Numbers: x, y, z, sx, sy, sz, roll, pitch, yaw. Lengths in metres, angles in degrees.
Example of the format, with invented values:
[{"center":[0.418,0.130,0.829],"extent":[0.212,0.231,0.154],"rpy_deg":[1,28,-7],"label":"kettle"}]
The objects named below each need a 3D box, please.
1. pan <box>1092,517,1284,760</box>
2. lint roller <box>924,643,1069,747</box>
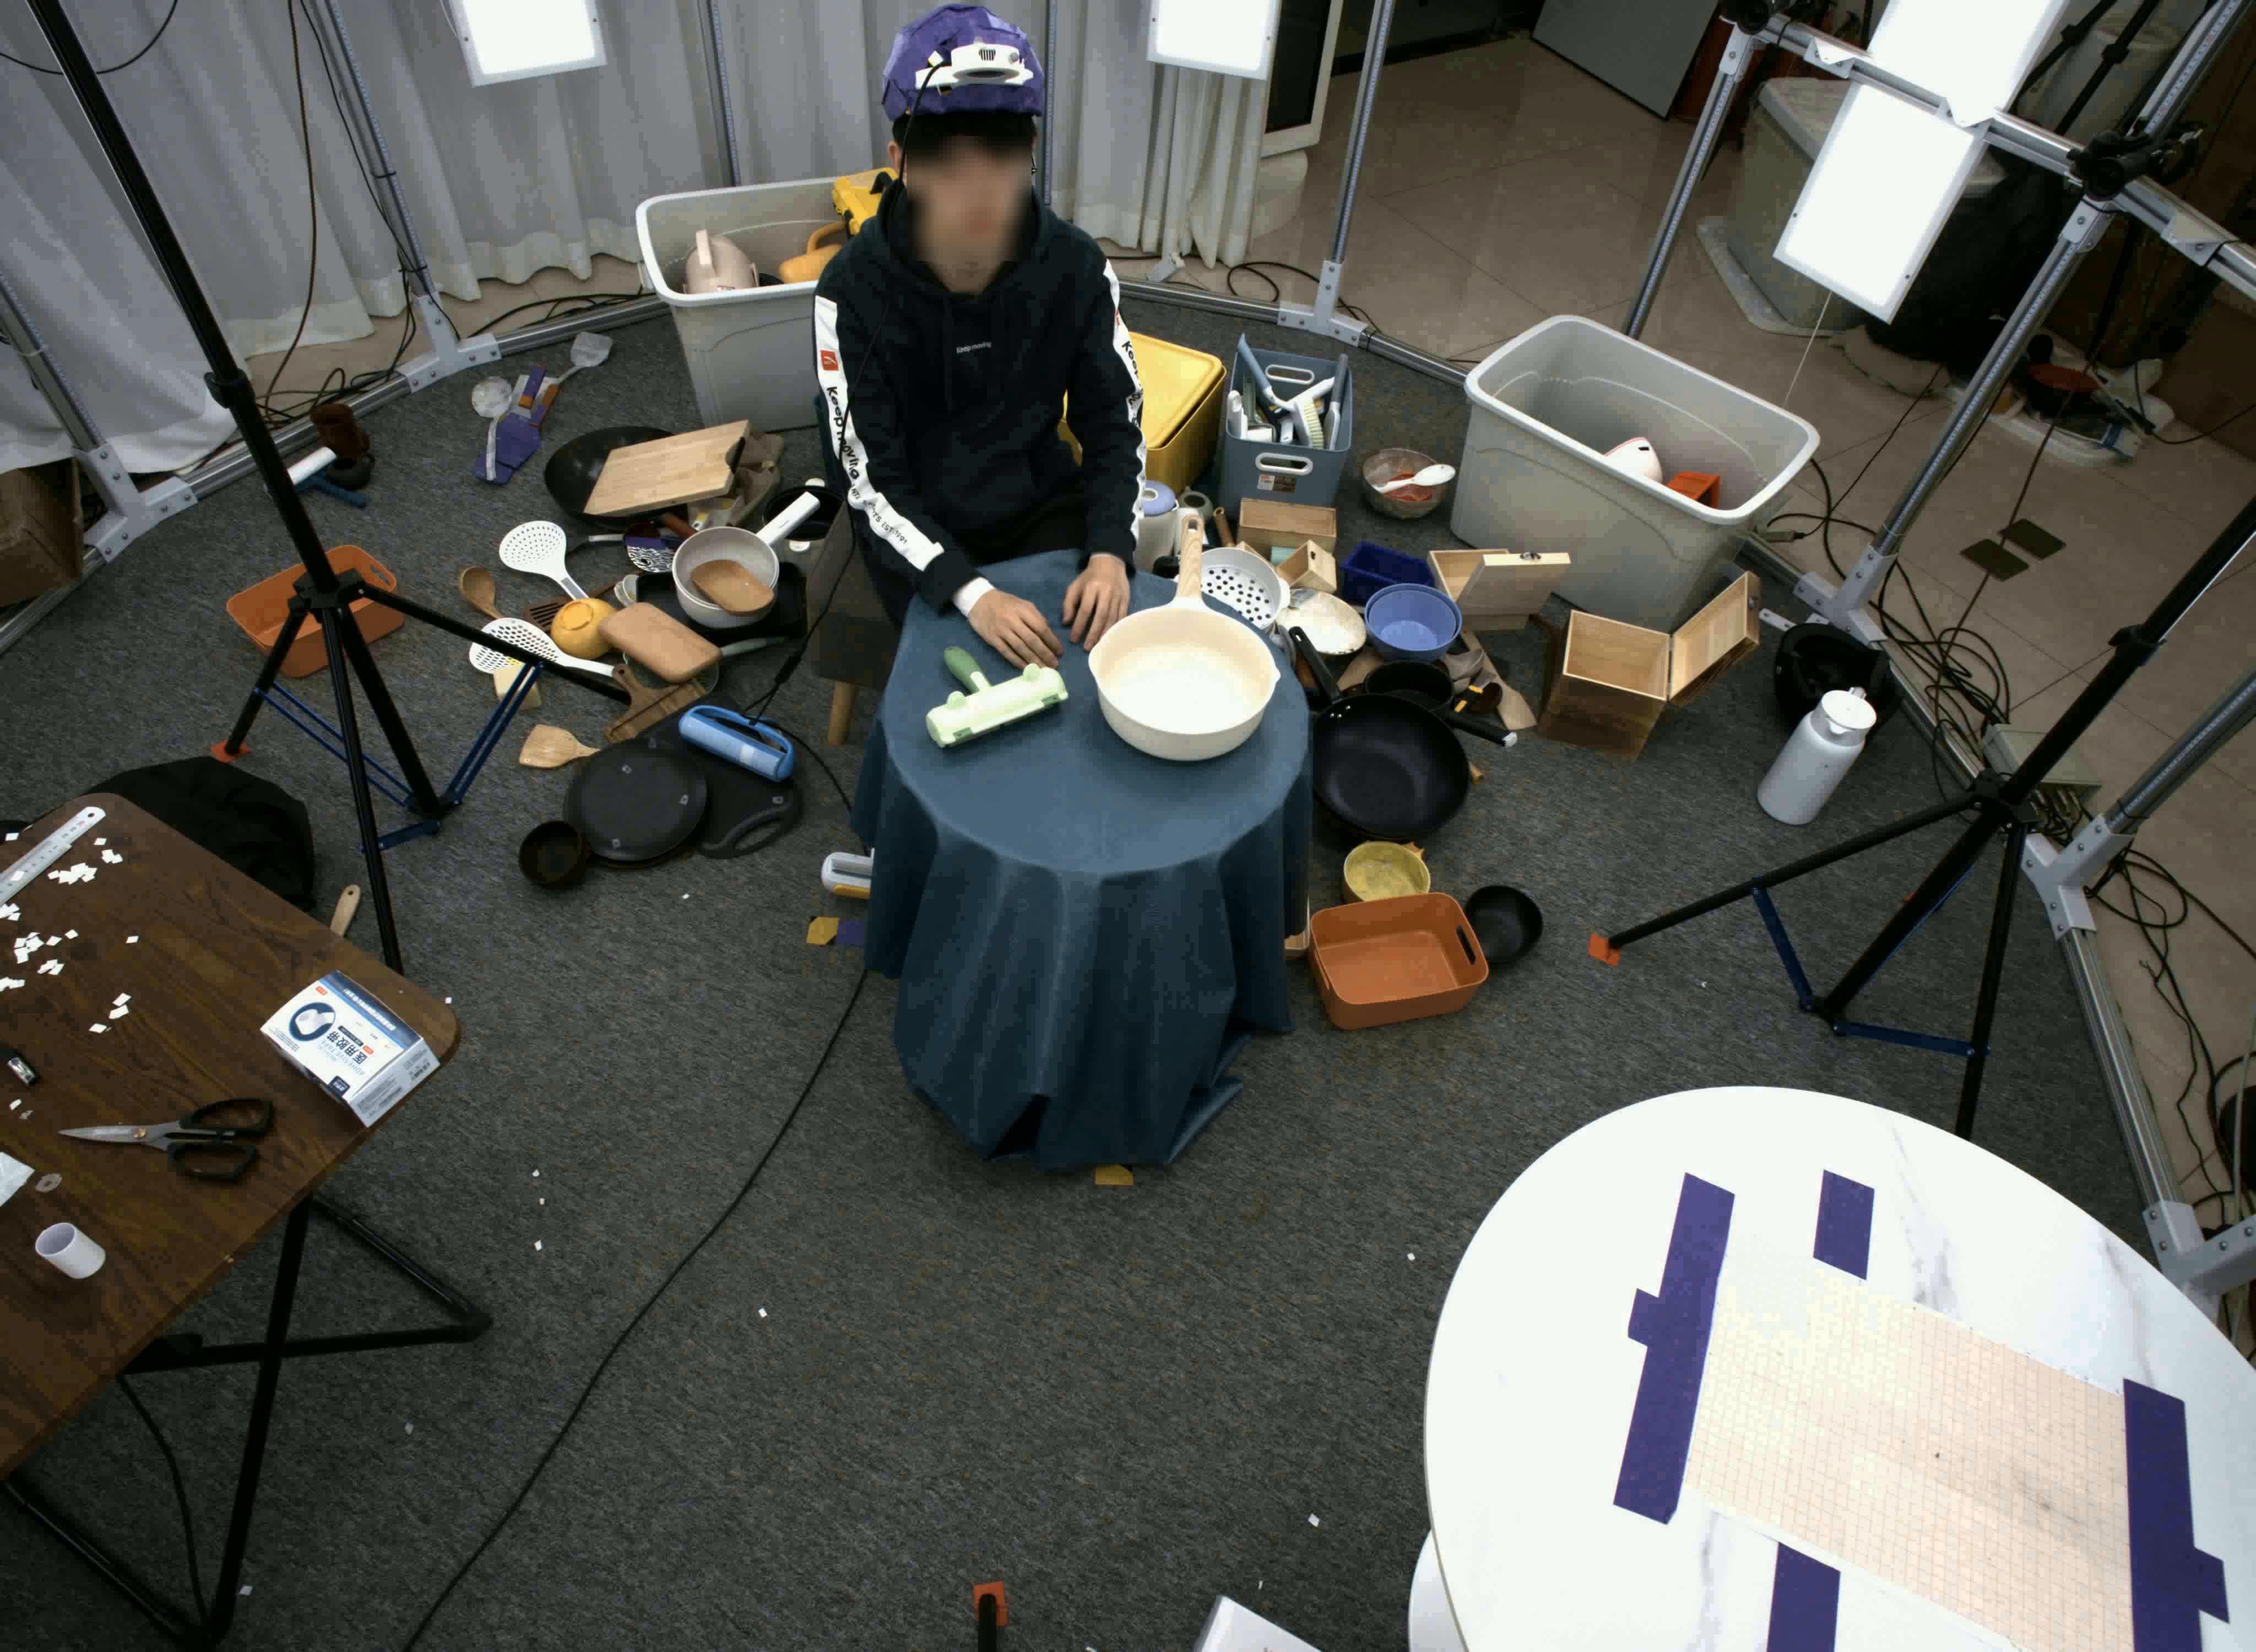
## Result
[{"center":[0.086,-0.269,1.843],"extent":[0.263,0.099,0.445],"rpy_deg":[3,49,1],"label":"pan"},{"center":[-0.208,-0.209,1.787],"extent":[0.199,0.080,0.187],"rpy_deg":[-23,60,-22],"label":"lint roller"}]
